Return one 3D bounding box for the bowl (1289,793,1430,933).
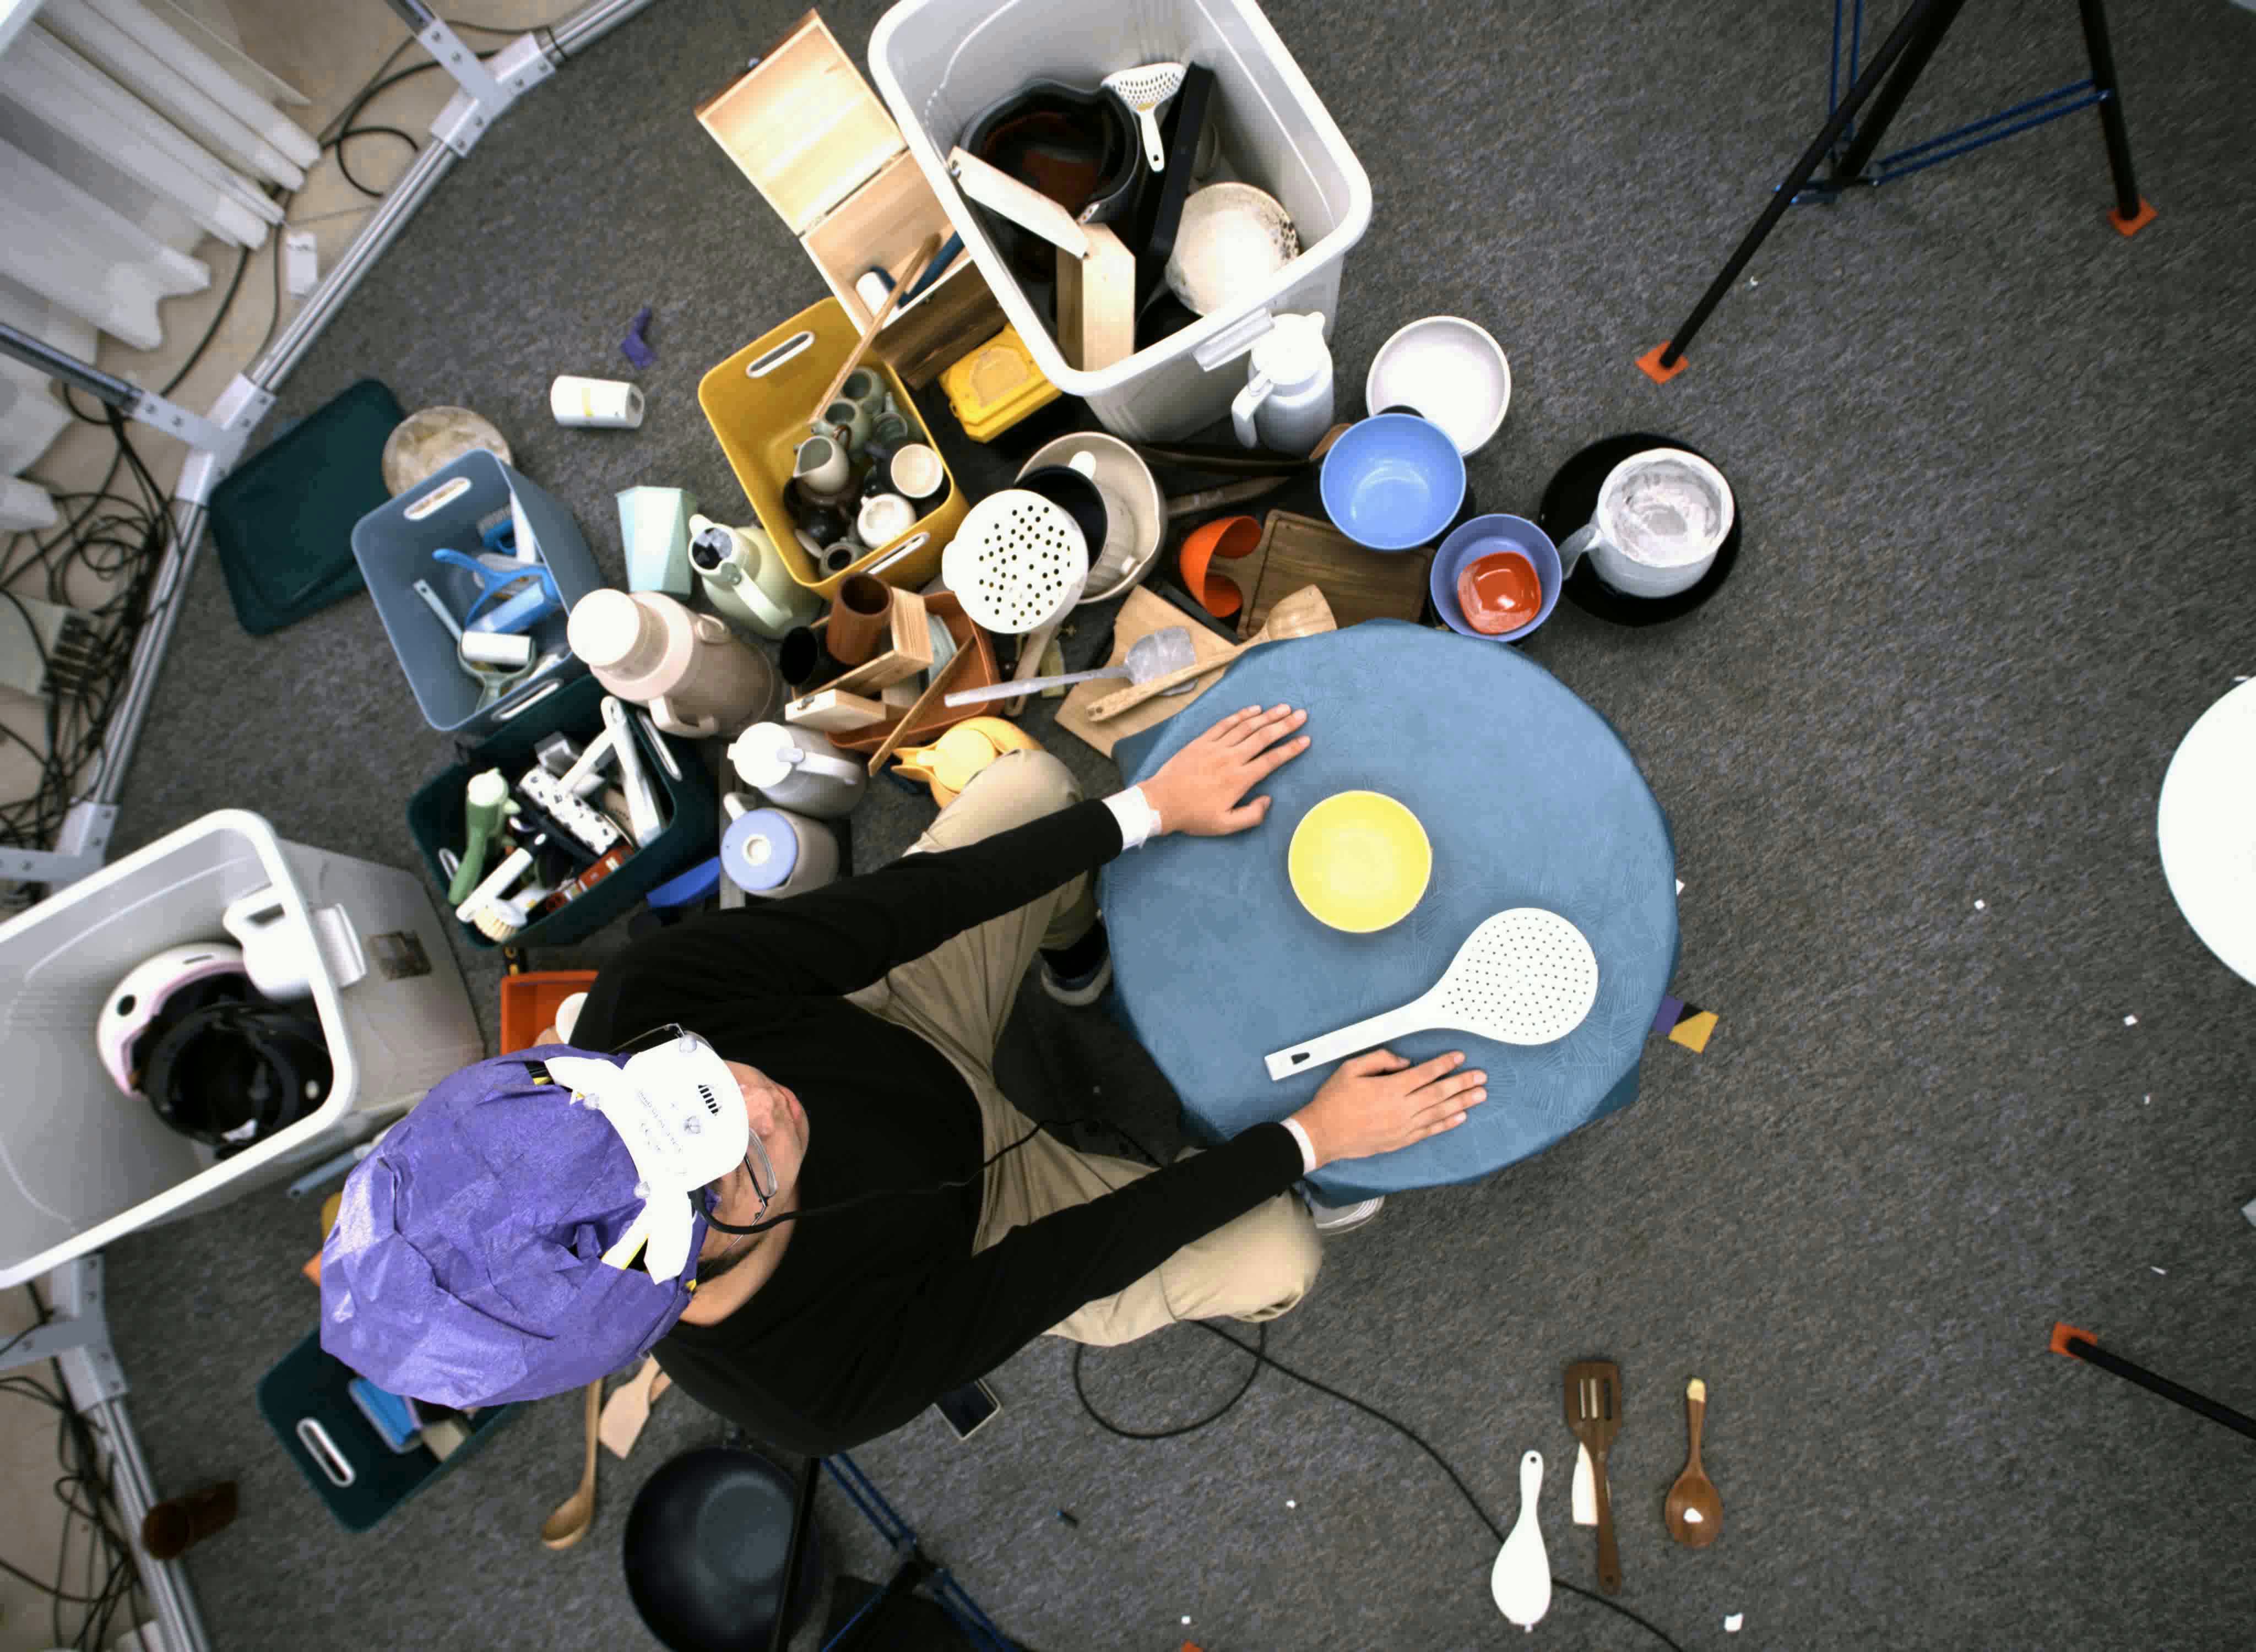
[{"bbox_3d":[0.241,0.040,1.439,0.146,0.060,0.144,-1,84,11],"label":"bowl"}]

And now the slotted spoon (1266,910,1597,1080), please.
[{"bbox_3d":[0.308,0.191,1.423,0.352,0.046,0.135,-22,82,10],"label":"slotted spoon"}]
